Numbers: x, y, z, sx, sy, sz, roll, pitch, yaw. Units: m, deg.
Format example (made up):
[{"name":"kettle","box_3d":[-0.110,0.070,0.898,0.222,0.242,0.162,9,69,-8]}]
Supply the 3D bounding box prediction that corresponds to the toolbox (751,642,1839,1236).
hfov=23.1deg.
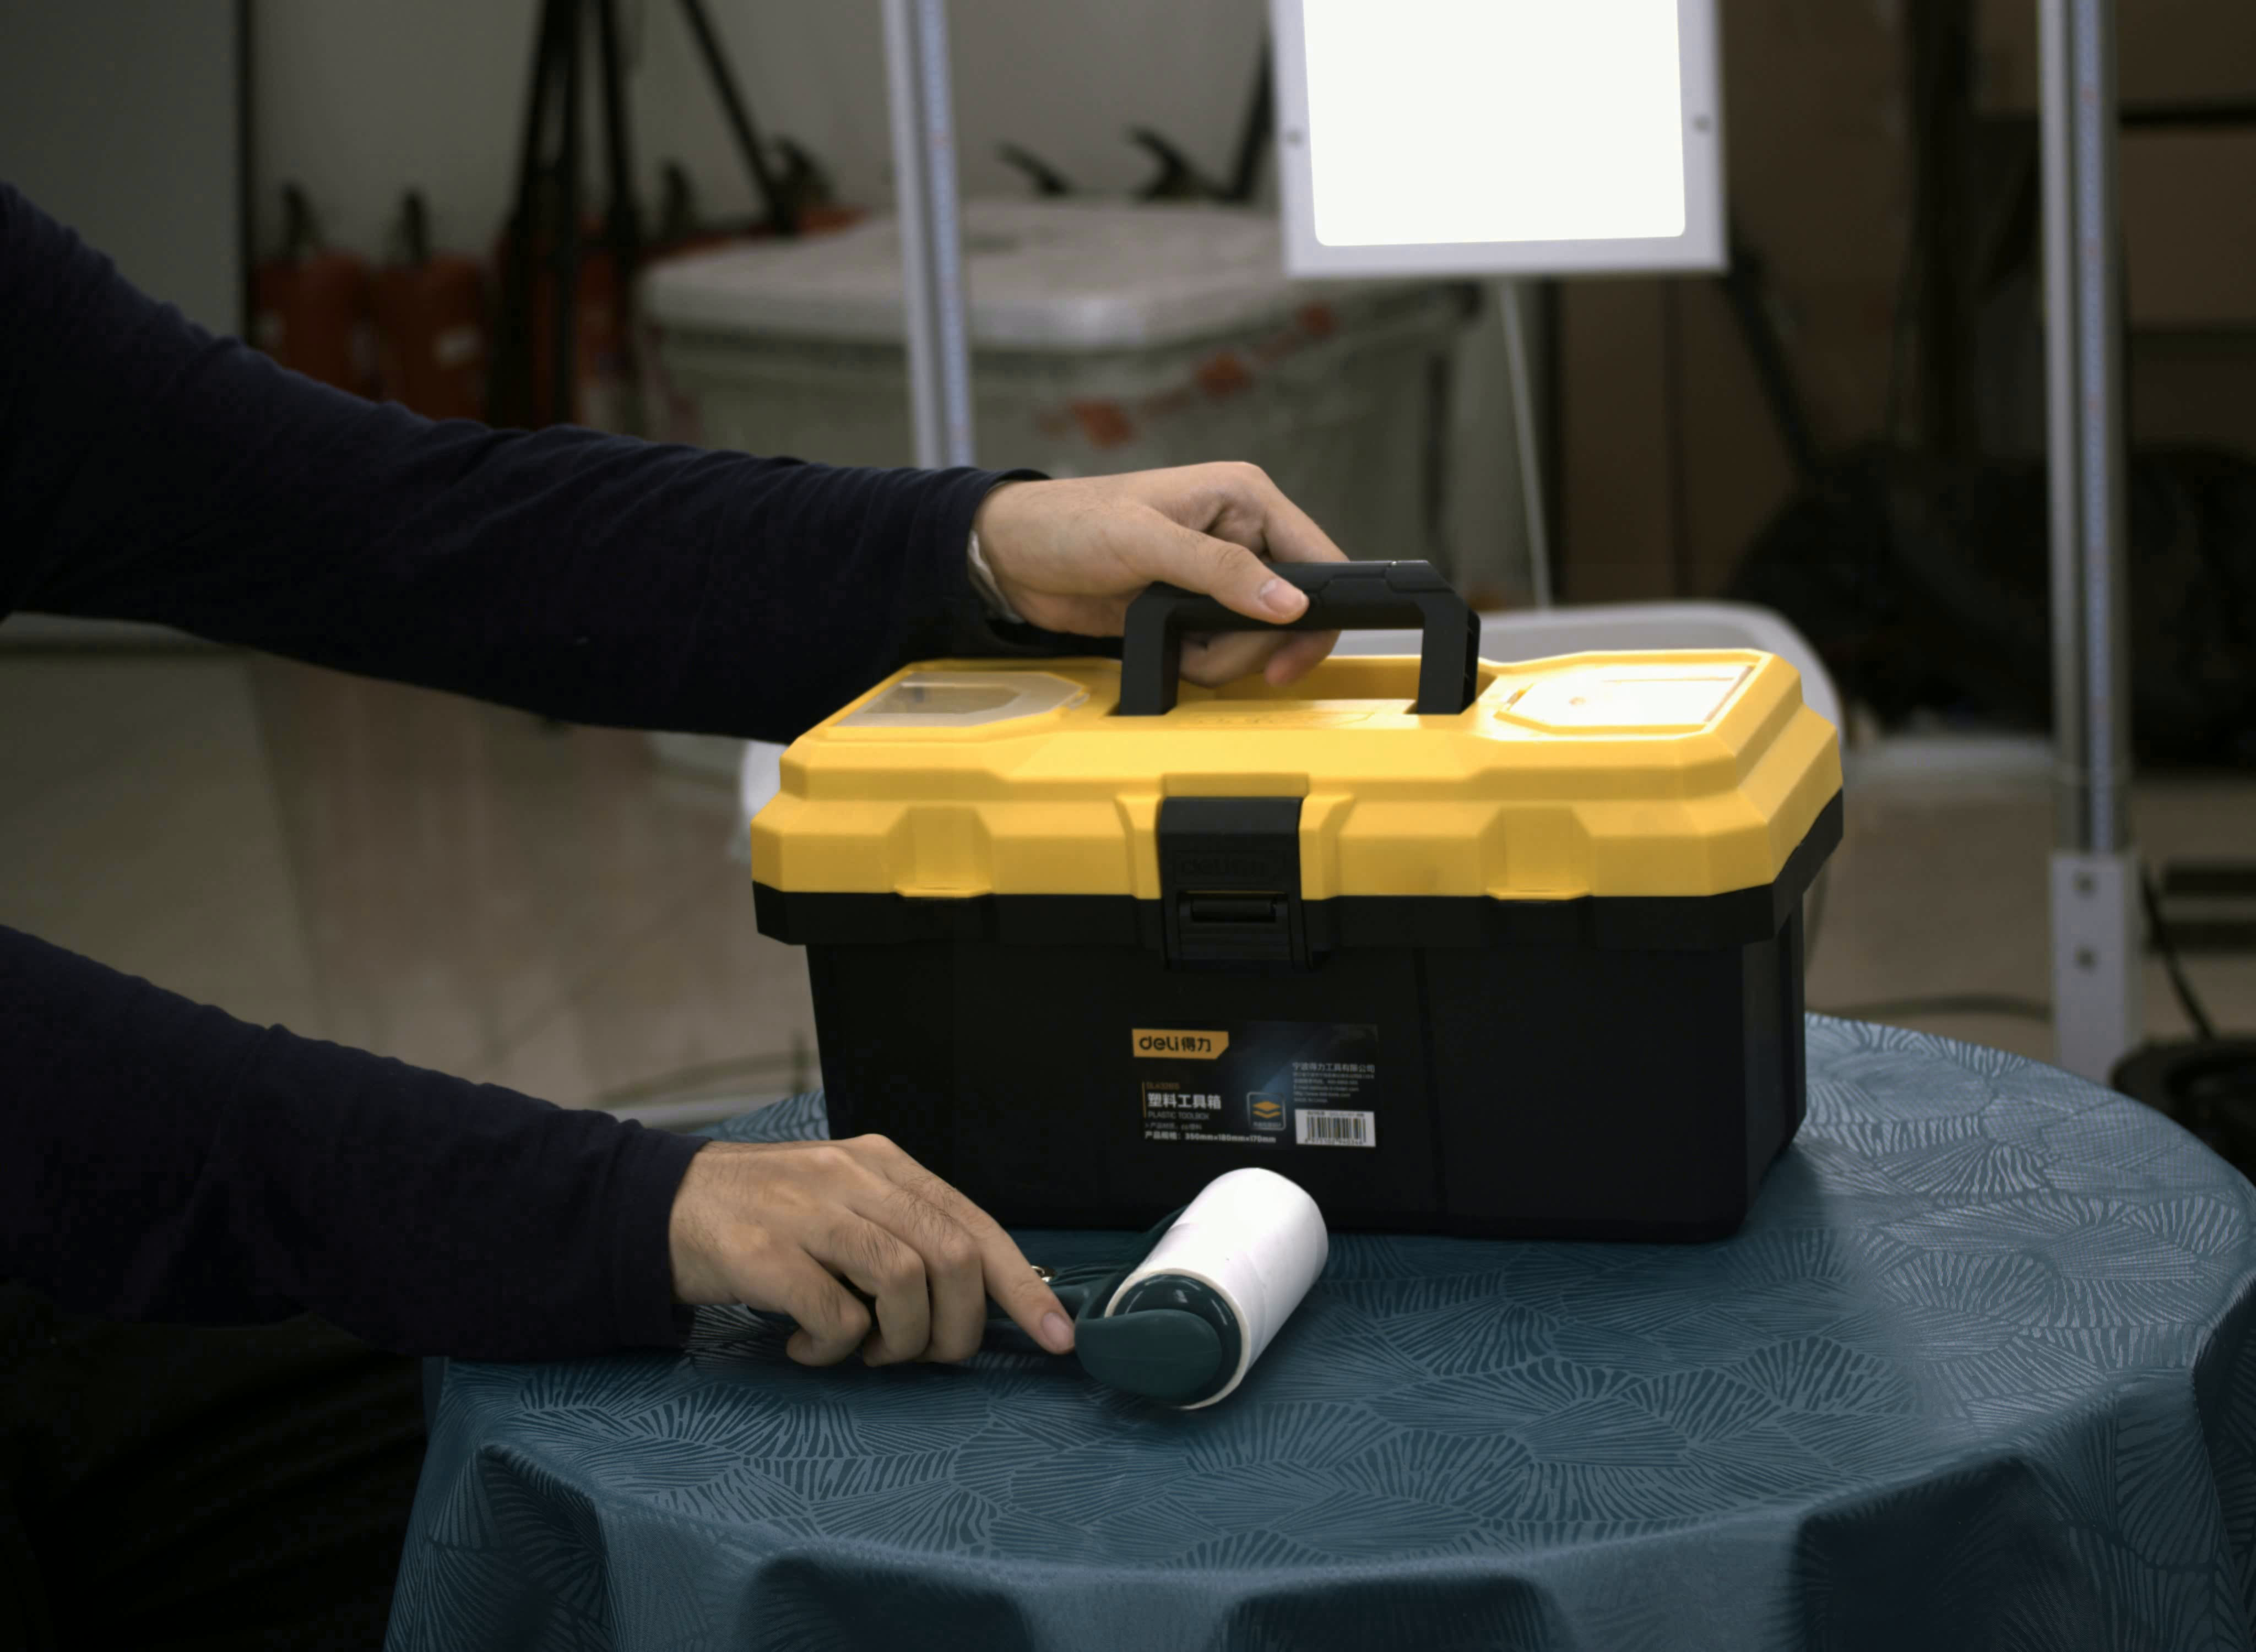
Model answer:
[{"name":"toolbox","box_3d":[0.060,0.039,1.874,0.356,0.173,0.178,-1,14,20]}]

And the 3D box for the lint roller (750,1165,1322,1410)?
[{"name":"lint roller","box_3d":[-0.036,0.144,1.742,0.182,0.048,0.132,-1,15,18]}]
